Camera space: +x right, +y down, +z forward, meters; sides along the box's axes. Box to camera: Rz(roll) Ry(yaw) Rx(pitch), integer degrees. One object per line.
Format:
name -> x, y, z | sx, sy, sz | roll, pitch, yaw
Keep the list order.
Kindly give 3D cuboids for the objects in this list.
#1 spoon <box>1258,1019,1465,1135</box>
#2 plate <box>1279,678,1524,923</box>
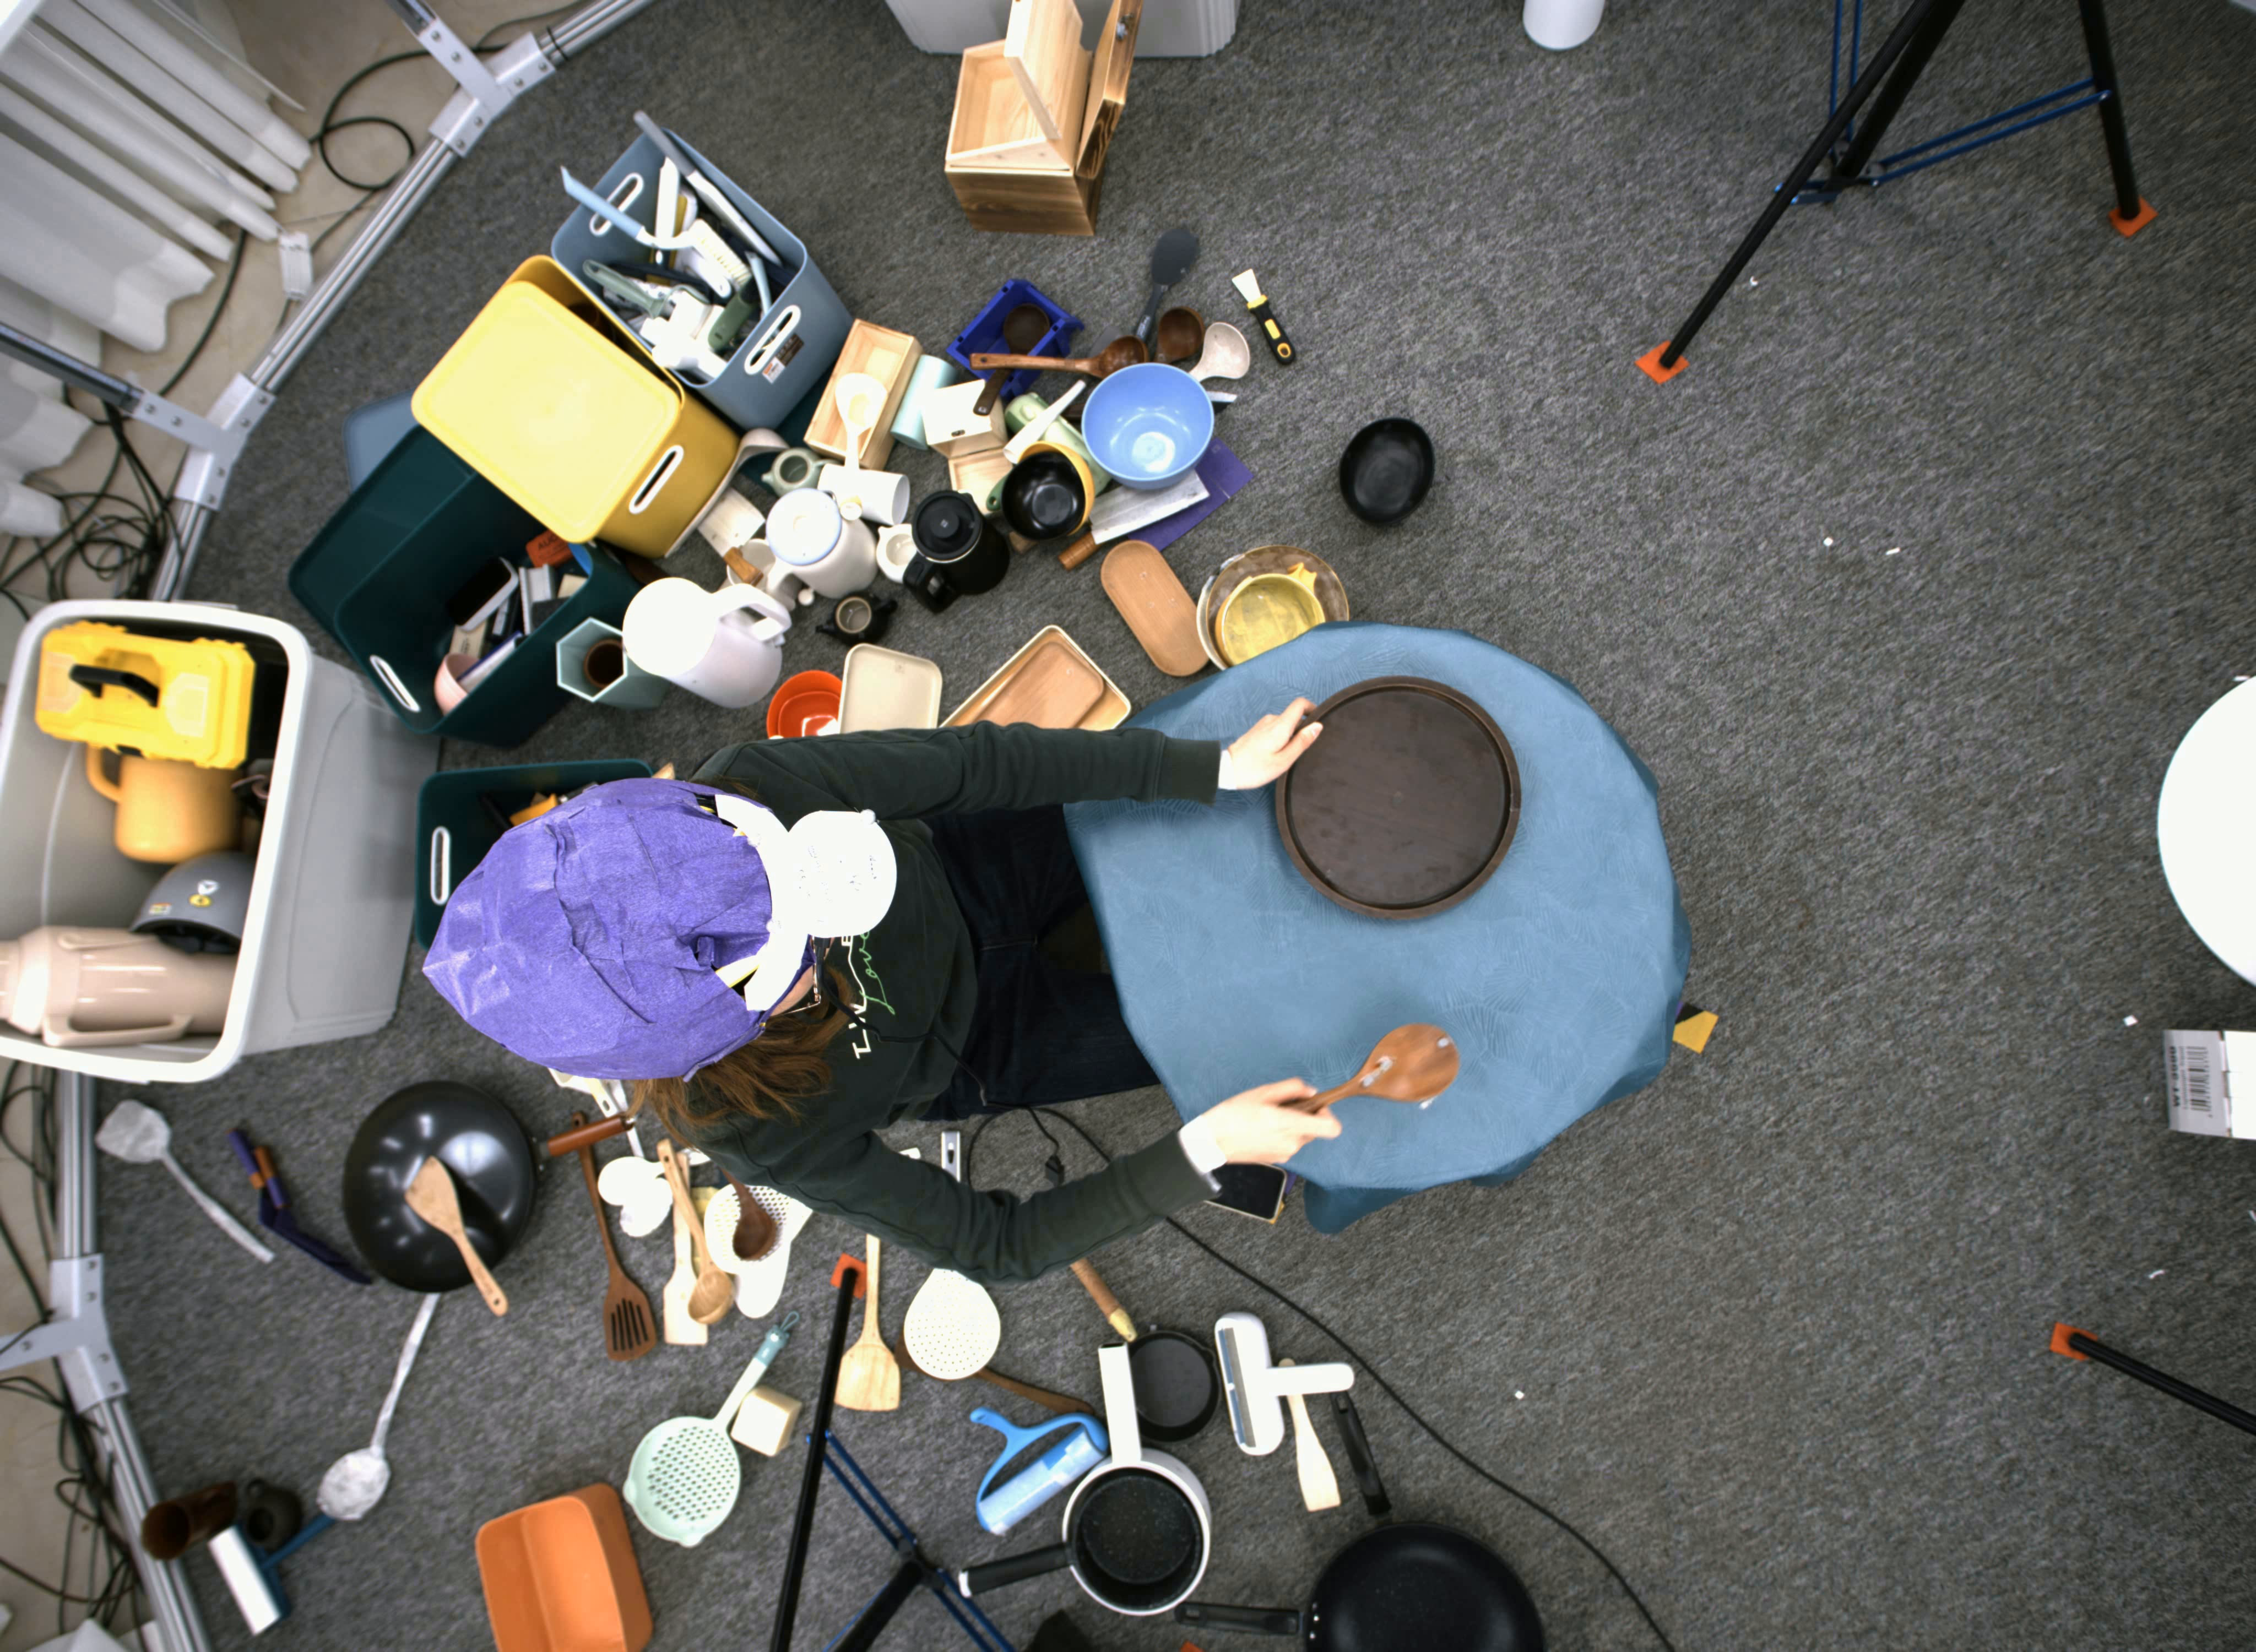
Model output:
spoon -> 0.224, 0.245, 1.324 | 0.215, 0.017, 0.074 | -20, 75, -11
plate -> 0.282, -0.027, 1.430 | 0.255, 0.029, 0.256 | 0, 97, 3
